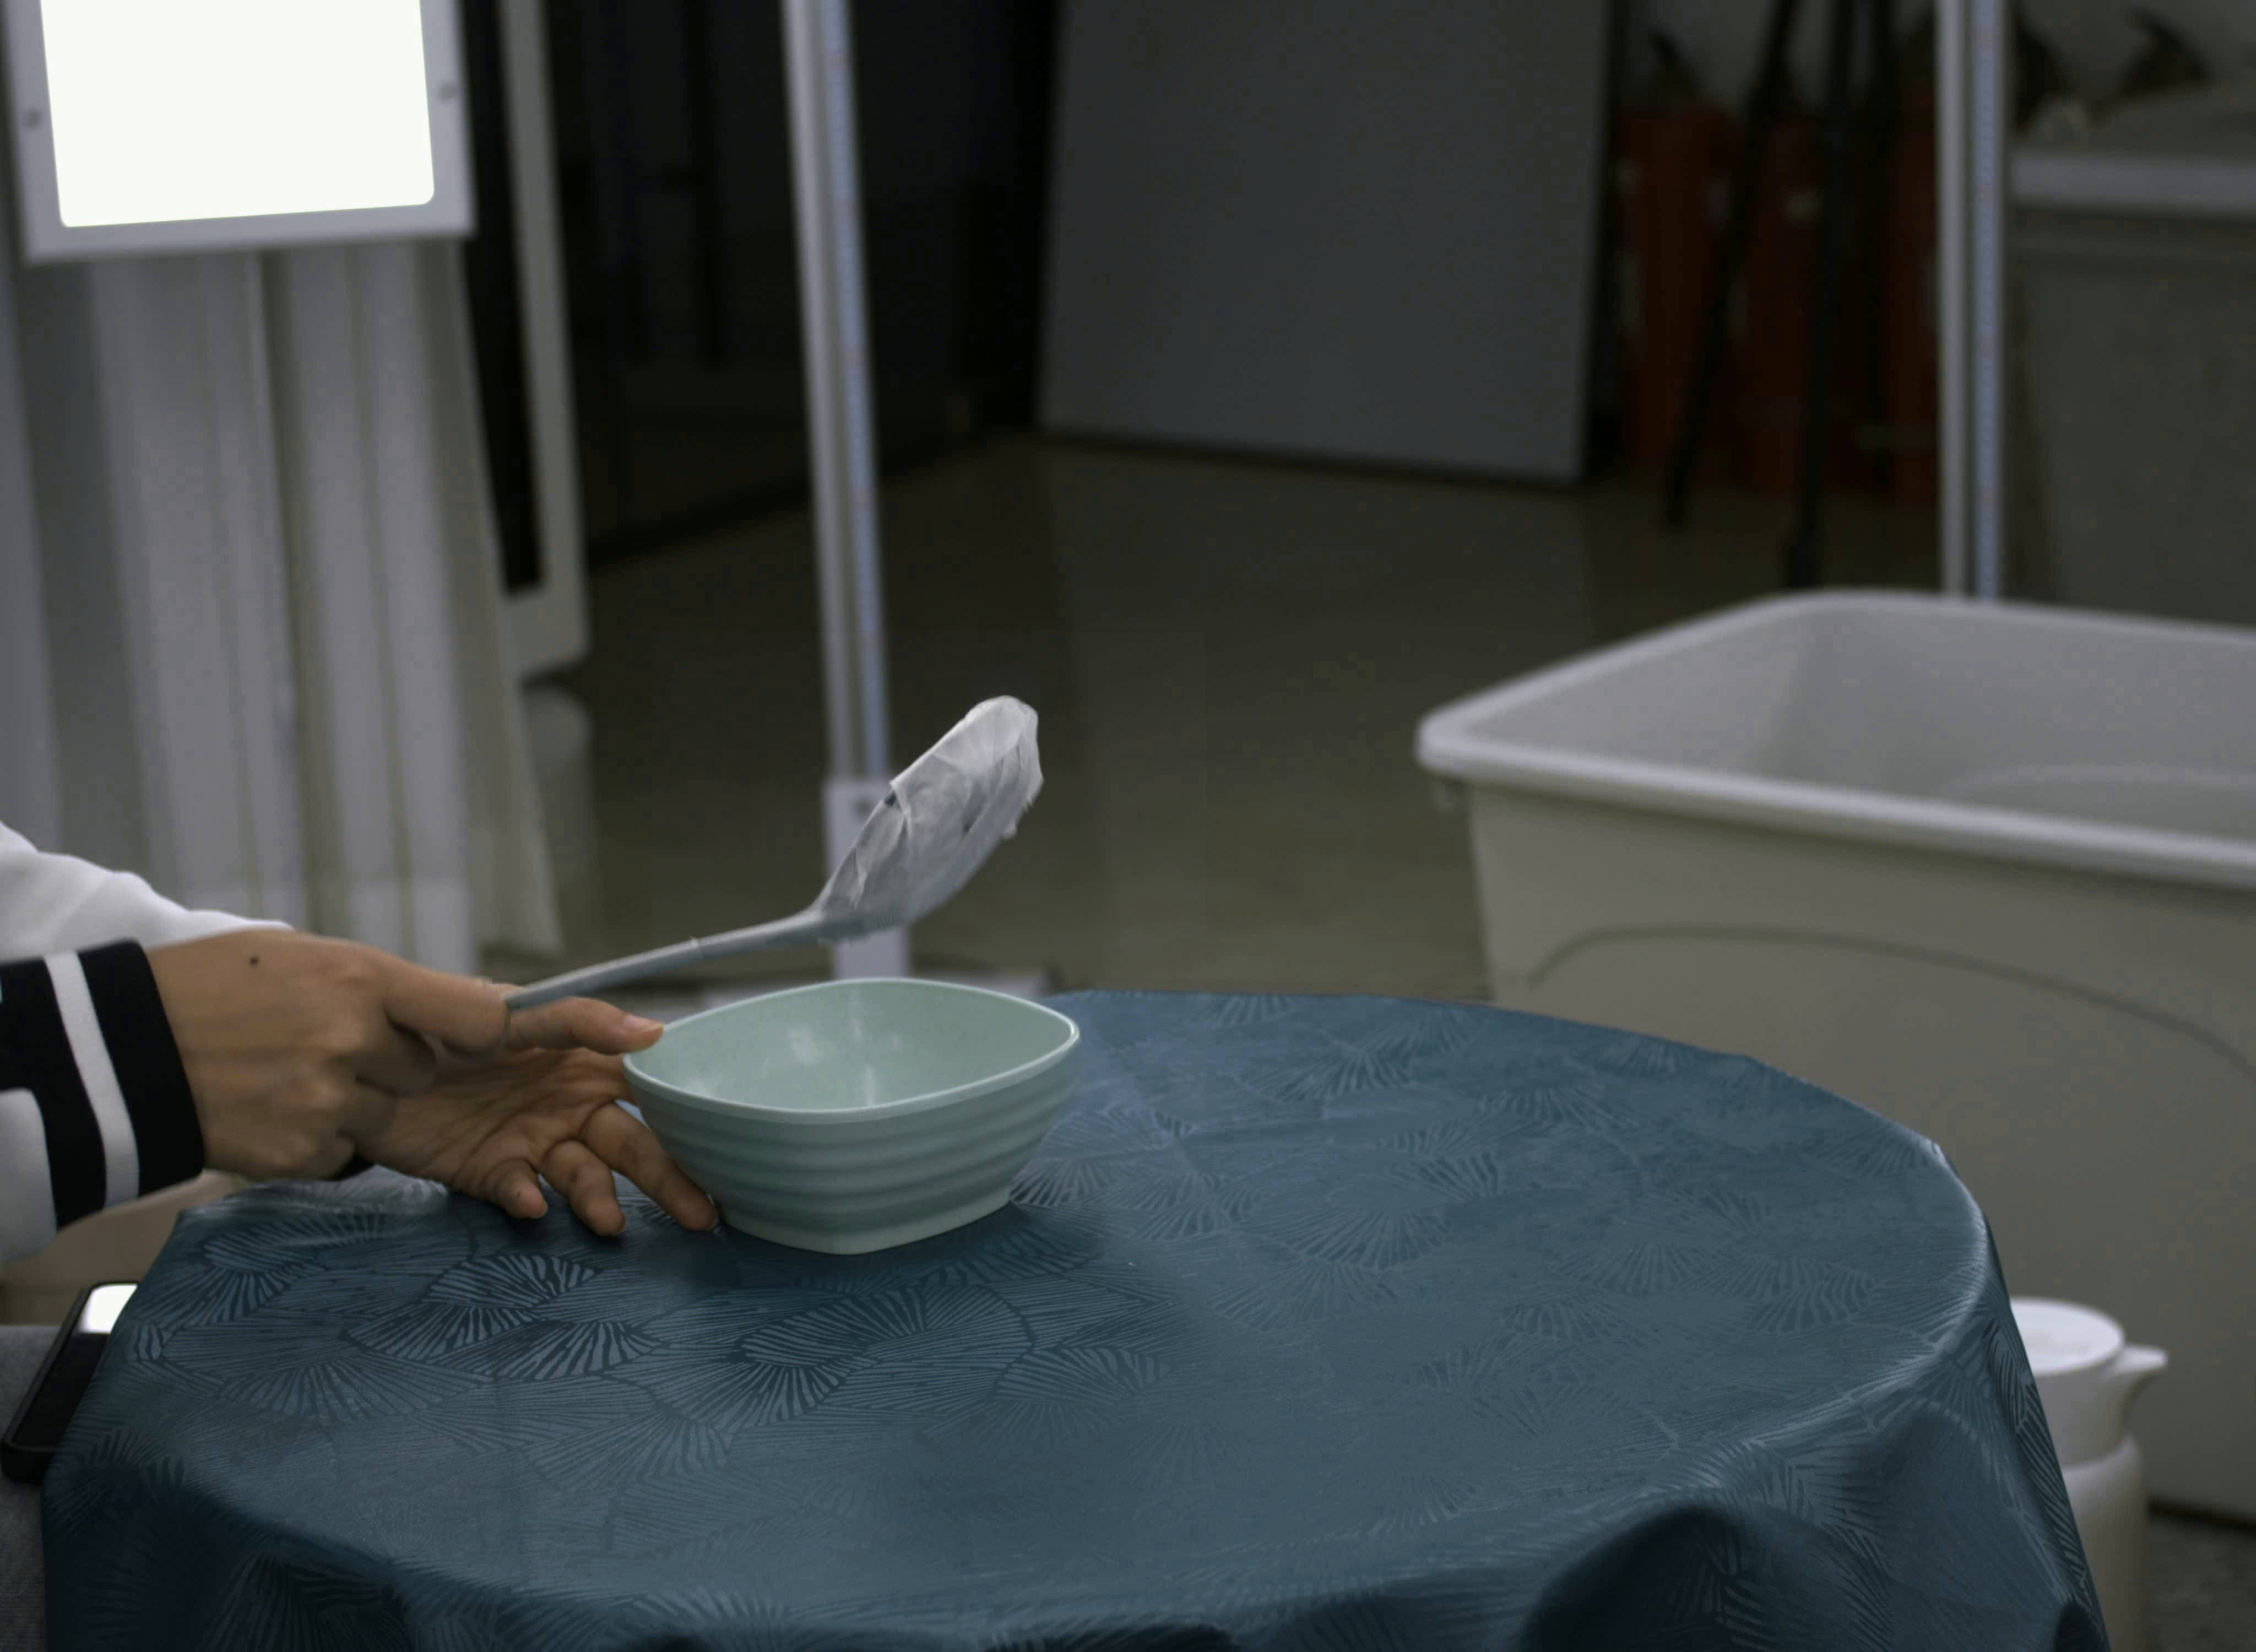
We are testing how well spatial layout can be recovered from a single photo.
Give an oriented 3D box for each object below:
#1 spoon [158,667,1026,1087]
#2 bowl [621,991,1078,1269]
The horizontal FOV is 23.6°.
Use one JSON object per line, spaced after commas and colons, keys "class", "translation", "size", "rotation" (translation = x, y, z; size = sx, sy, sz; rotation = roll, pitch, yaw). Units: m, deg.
{"class": "spoon", "translation": [-0.157, 0.018, 1.605], "size": [0.274, 0.060, 0.100], "rotation": [-15, -23, -1]}
{"class": "bowl", "translation": [-0.089, 0.102, 1.766], "size": [0.149, 0.059, 0.152], "rotation": [-4, 13, 0]}
